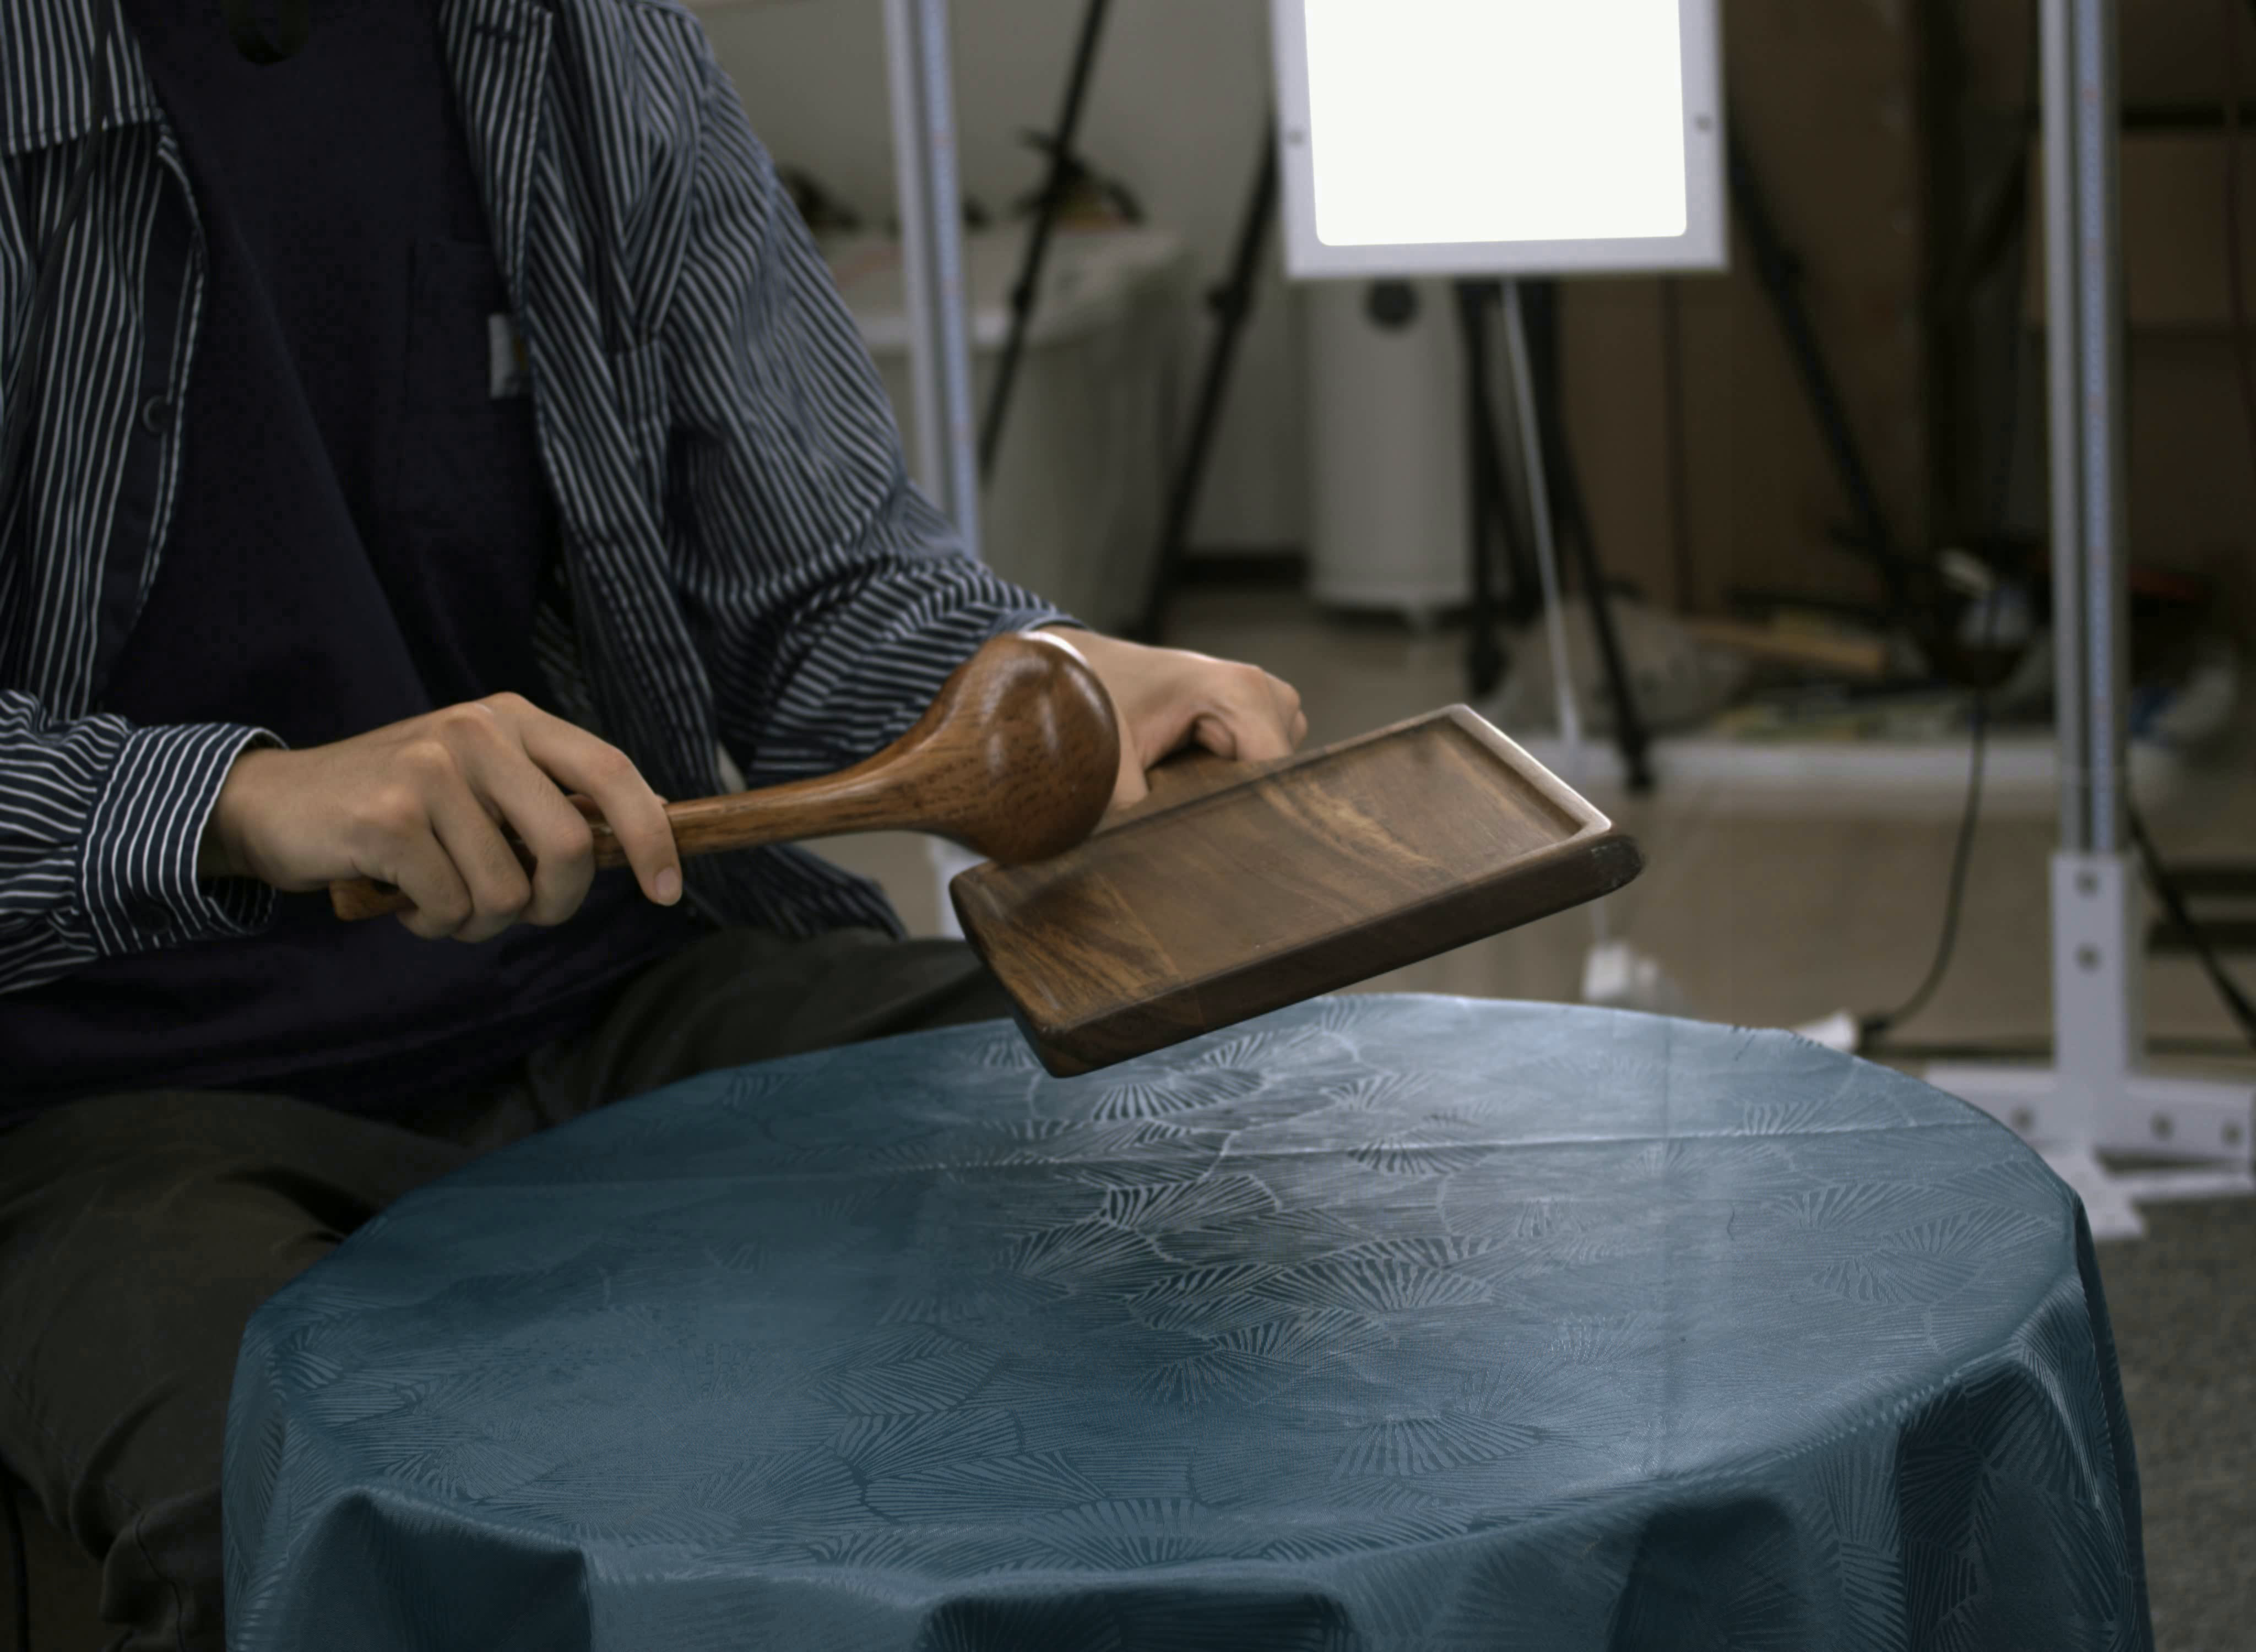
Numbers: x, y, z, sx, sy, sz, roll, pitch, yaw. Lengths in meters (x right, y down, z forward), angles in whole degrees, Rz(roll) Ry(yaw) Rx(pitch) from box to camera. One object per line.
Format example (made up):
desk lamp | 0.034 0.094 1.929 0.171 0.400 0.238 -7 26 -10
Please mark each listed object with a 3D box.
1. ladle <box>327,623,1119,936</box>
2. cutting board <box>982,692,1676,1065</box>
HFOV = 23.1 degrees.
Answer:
ladle | -0.138 -0.008 1.902 0.275 0.082 0.076 -11 7 7
cutting board | 0.054 0.004 1.873 0.200 0.023 0.353 -19 13 -3
